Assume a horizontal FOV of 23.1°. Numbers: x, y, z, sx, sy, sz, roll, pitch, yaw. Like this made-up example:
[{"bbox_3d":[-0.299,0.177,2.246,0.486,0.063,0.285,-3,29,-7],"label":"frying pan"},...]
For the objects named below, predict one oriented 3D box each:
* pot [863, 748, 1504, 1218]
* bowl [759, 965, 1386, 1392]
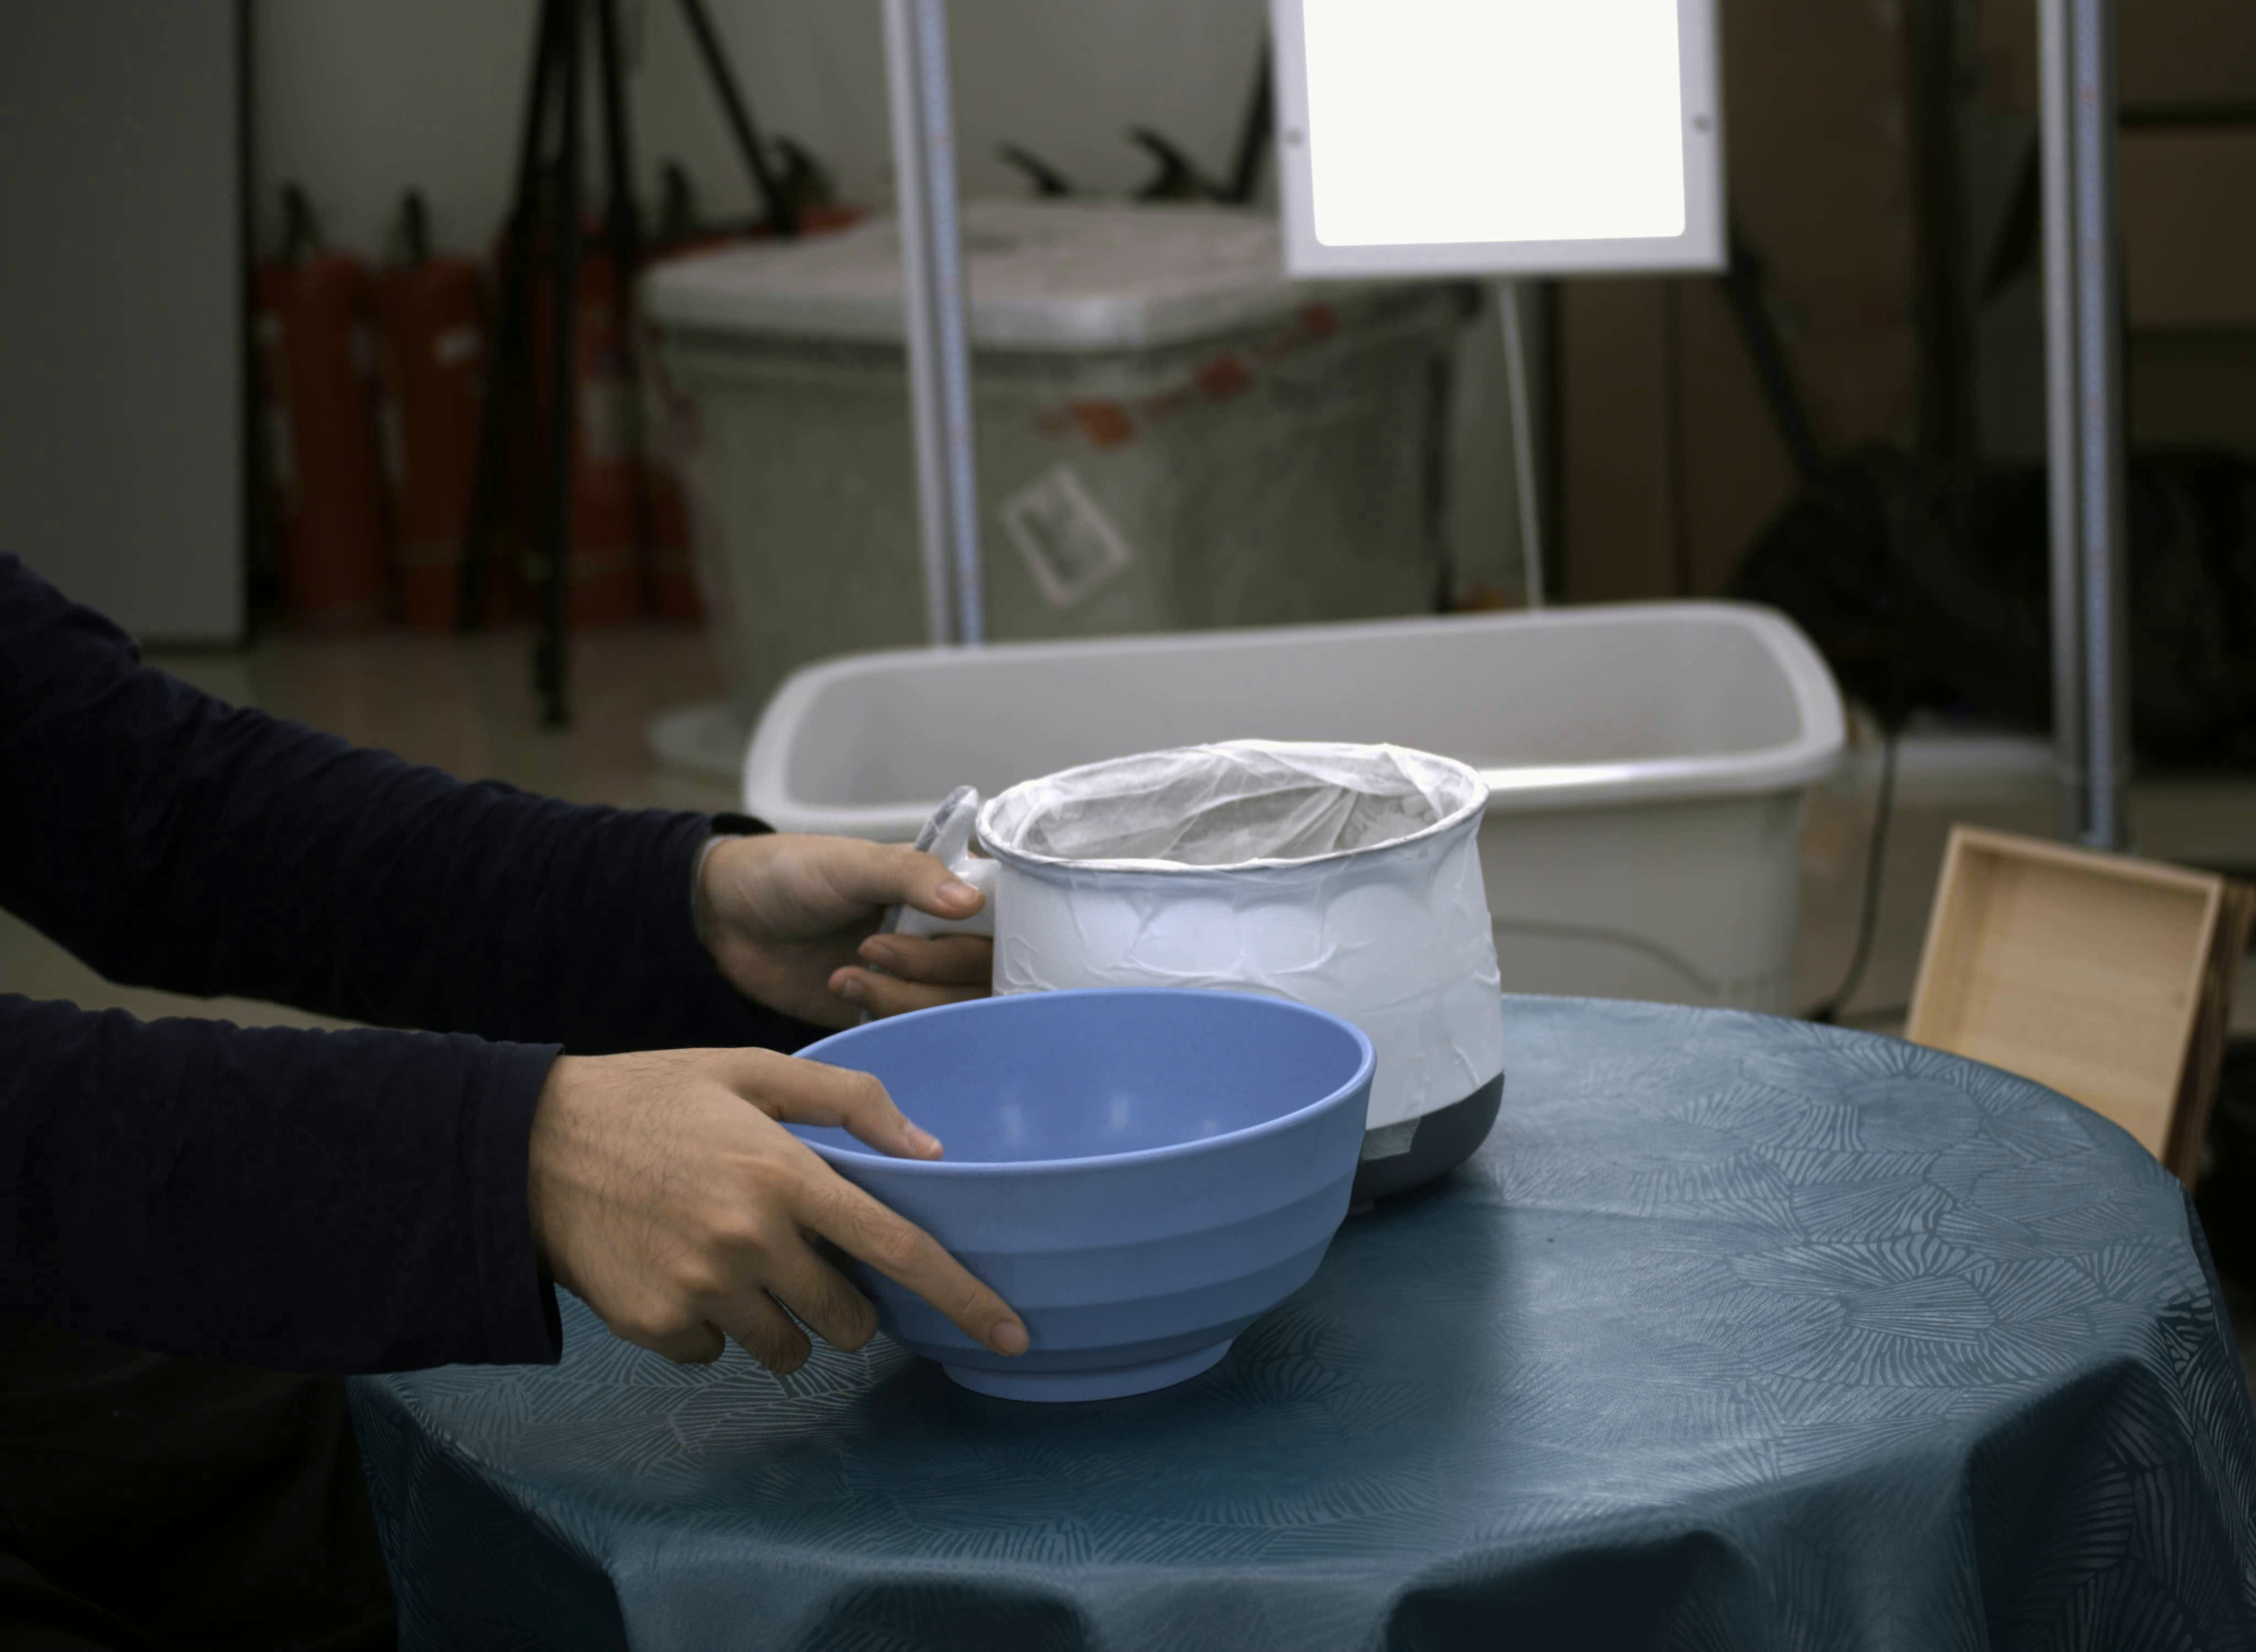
[{"bbox_3d":[0.015,0.053,1.910,0.237,0.137,0.175,0,12,20],"label":"pot"},{"bbox_3d":[-0.017,0.117,1.730,0.196,0.096,0.196,-2,16,-1],"label":"bowl"}]
